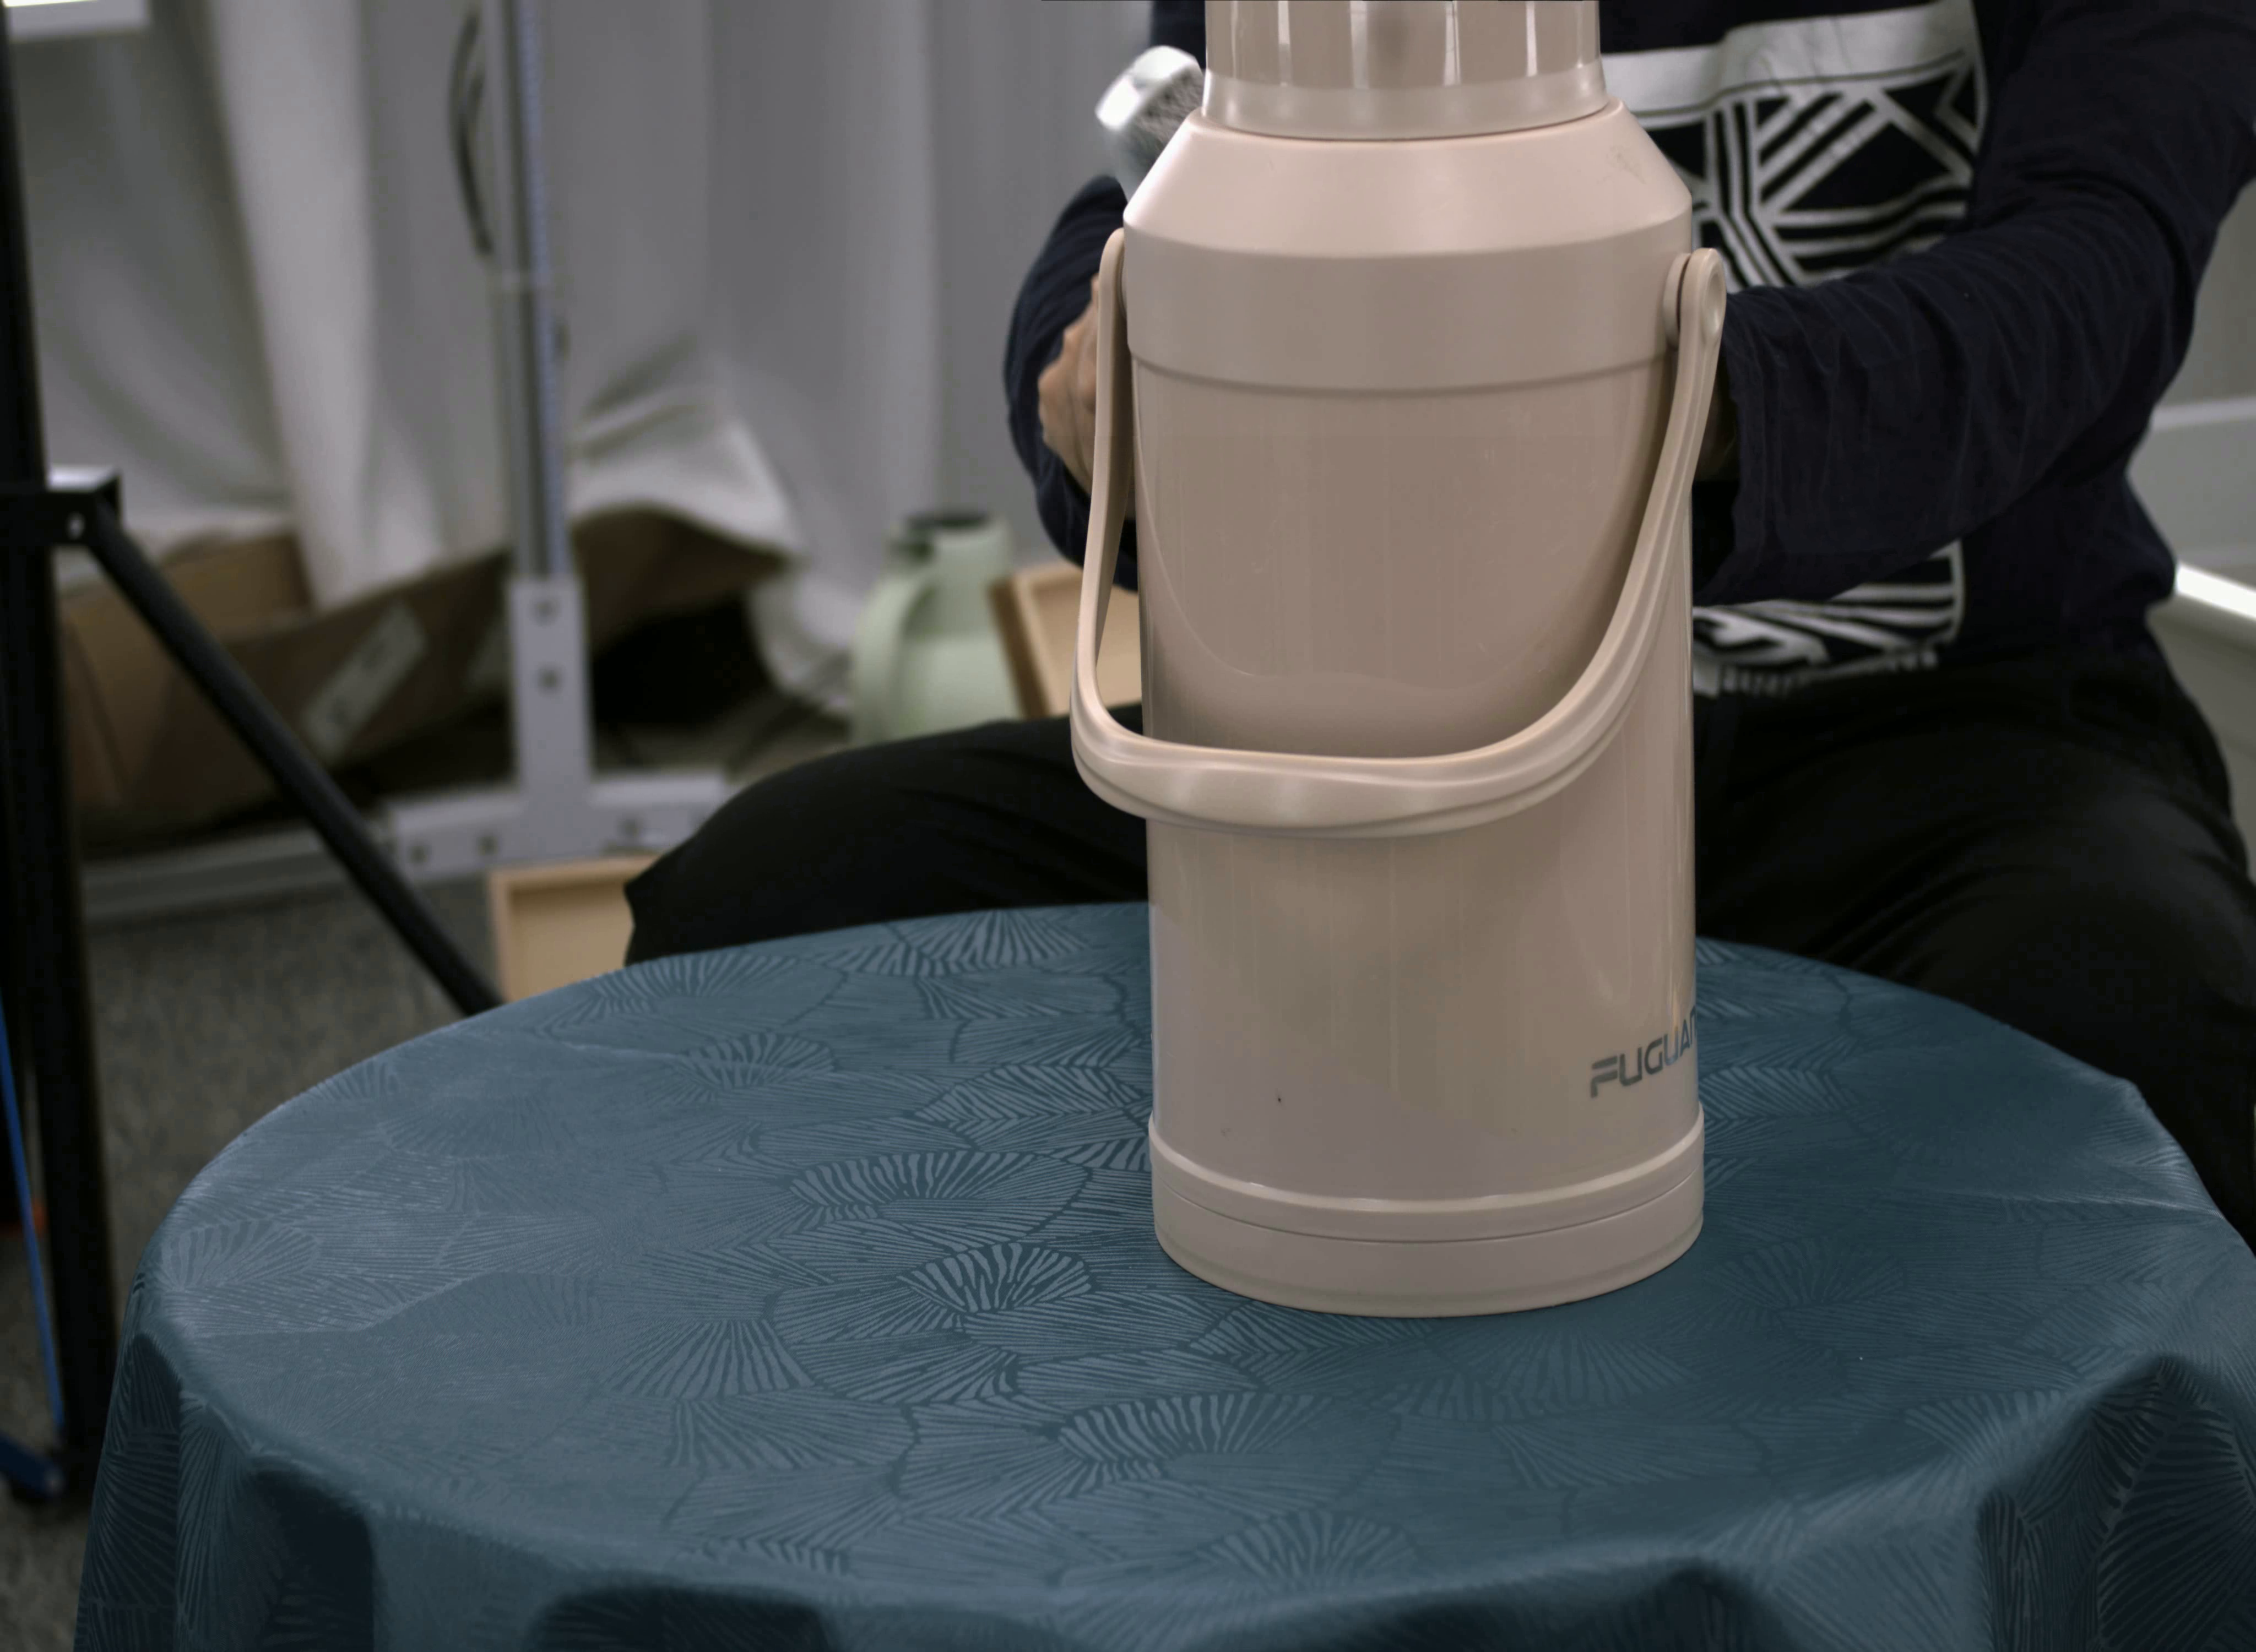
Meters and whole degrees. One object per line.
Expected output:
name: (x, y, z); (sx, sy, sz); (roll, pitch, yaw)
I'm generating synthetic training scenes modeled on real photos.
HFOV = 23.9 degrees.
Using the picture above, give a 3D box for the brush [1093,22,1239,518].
brush: (0.018, -0.153, 1.600); (0.051, 0.242, 0.034); (36, 66, 19)

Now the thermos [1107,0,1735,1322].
thermos: (0.088, -0.080, 1.486); (0.177, 0.406, 0.204); (2, 15, 22)
